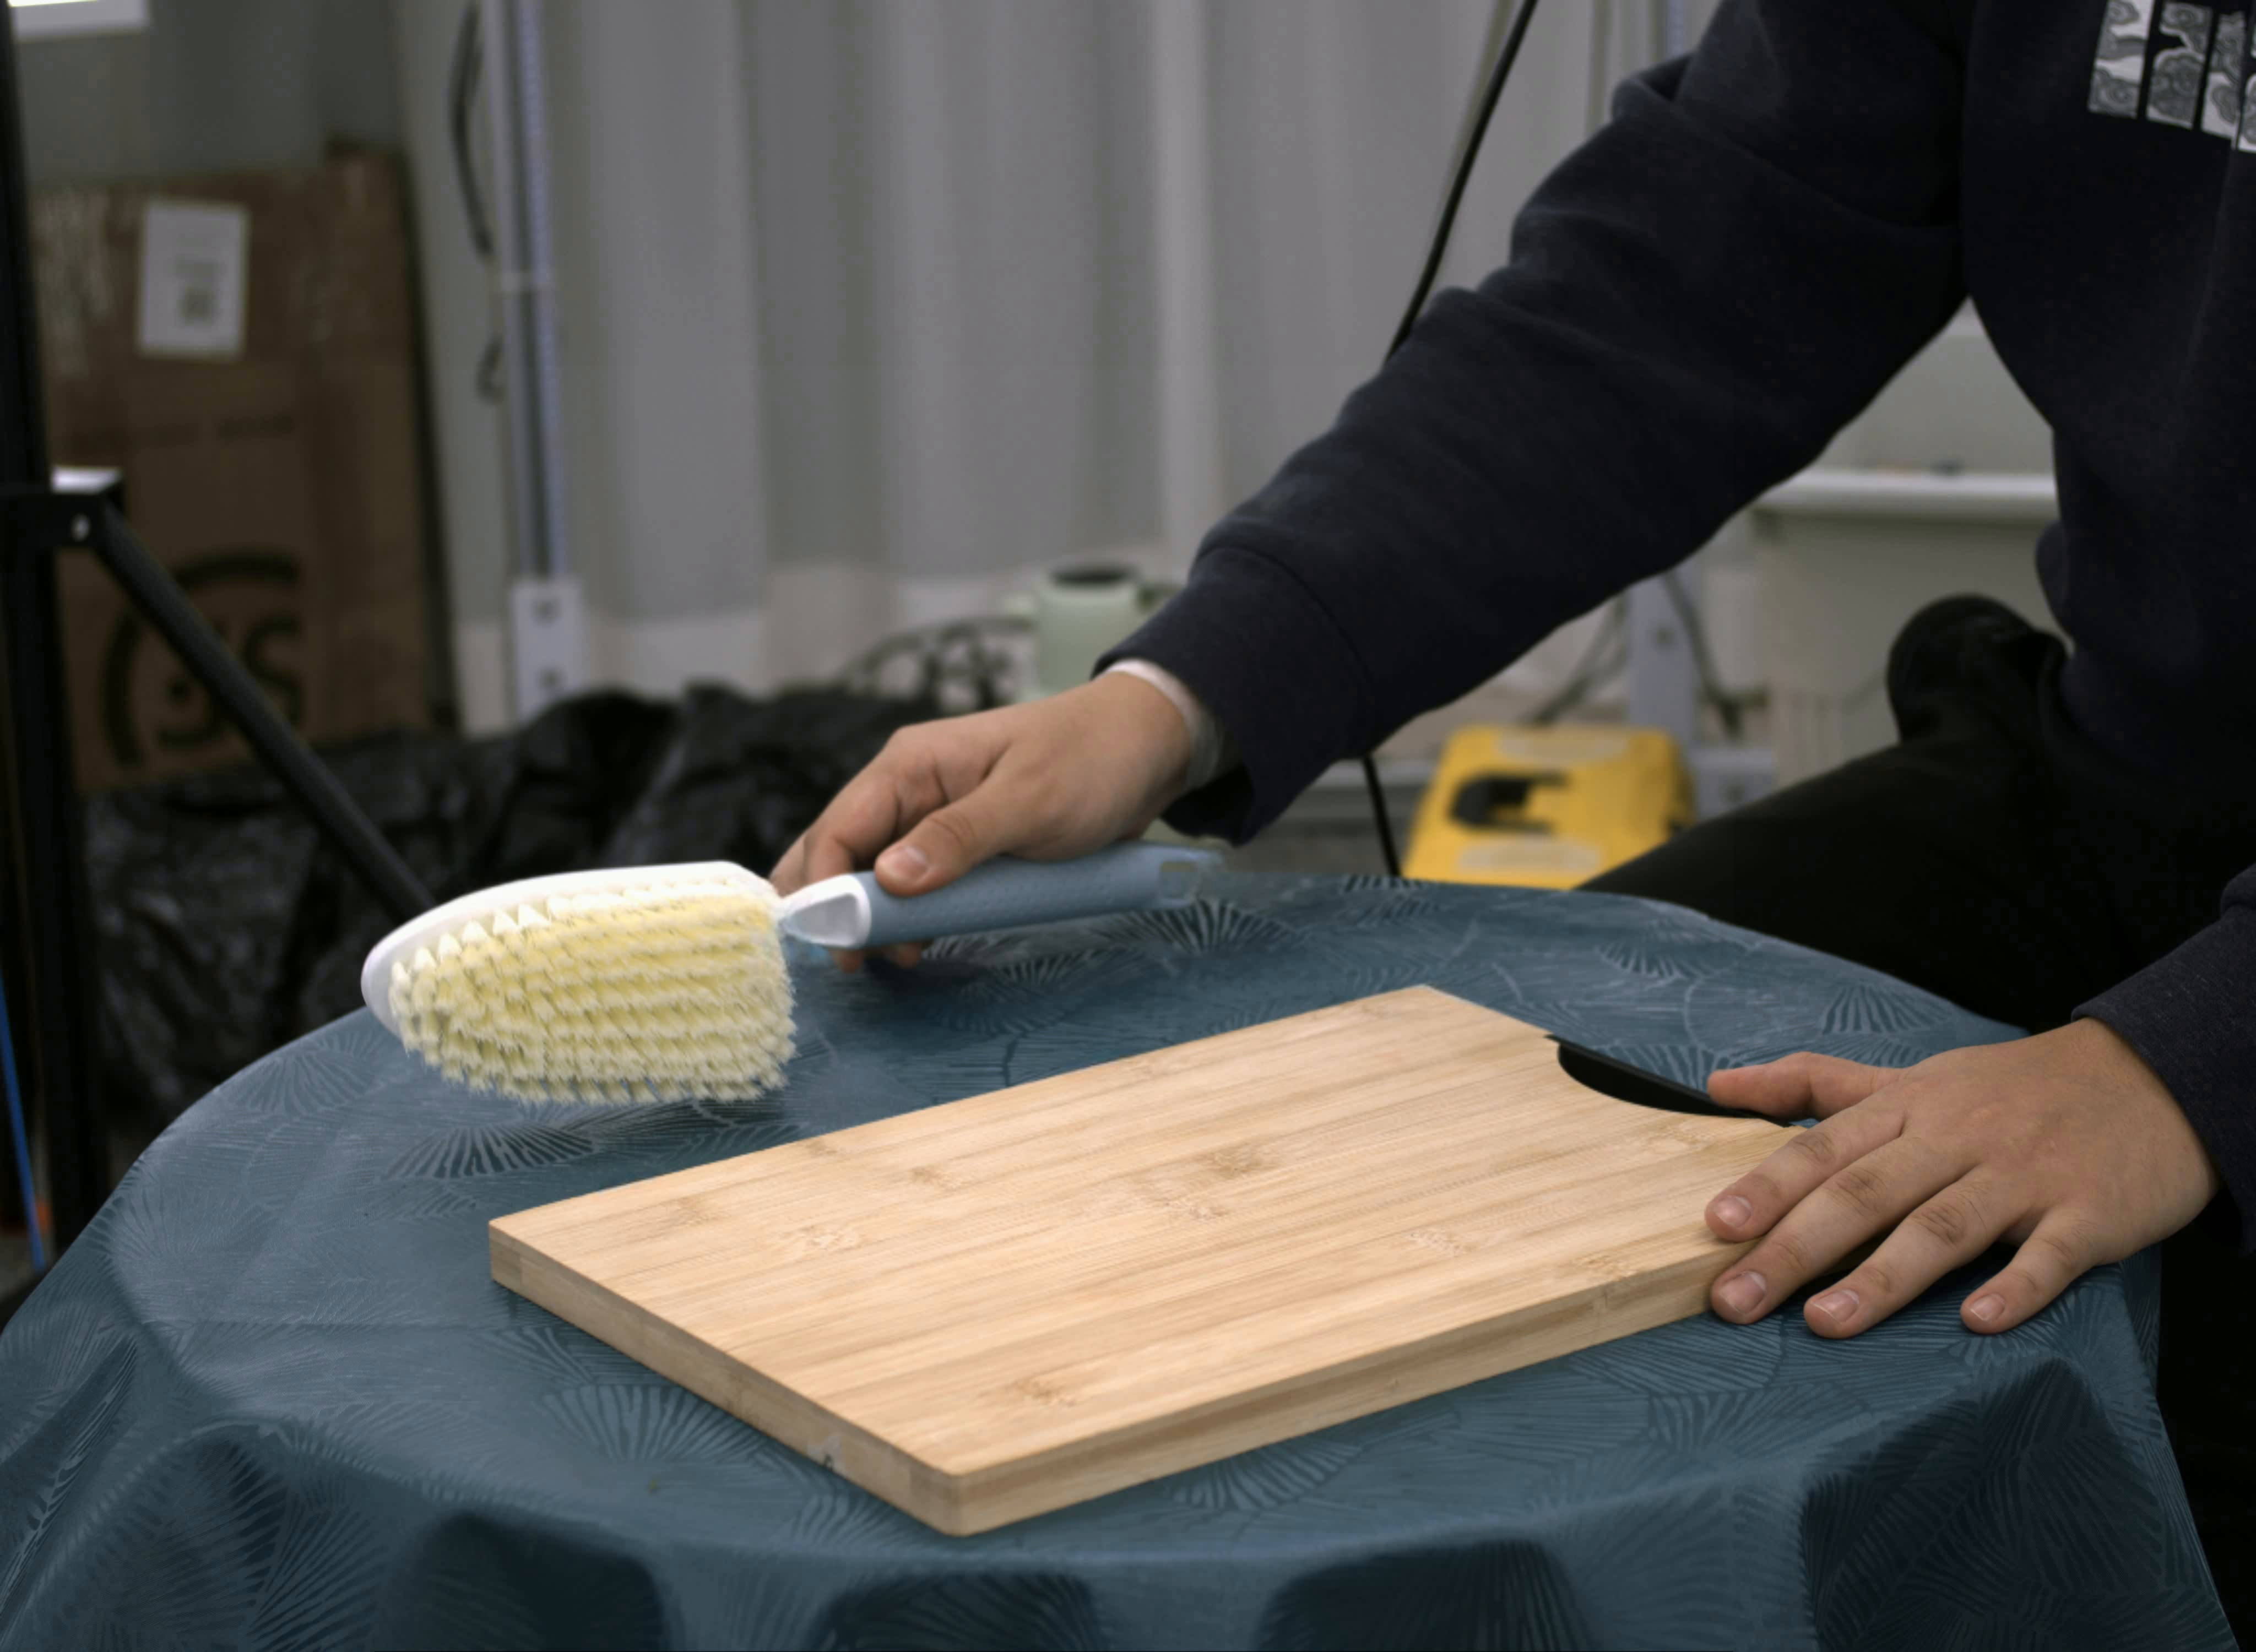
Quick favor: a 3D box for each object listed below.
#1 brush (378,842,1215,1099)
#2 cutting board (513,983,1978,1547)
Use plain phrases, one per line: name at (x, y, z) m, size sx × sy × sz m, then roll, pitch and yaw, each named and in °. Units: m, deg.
brush at (-0.082, 0.034, 1.678) m, size 0.317 × 0.083 × 0.086 m, roll -7°, pitch 51°, yaw -36°
cutting board at (0.031, 0.114, 1.501) m, size 0.341 × 0.023 × 0.256 m, roll -13°, pitch 19°, yaw -33°
